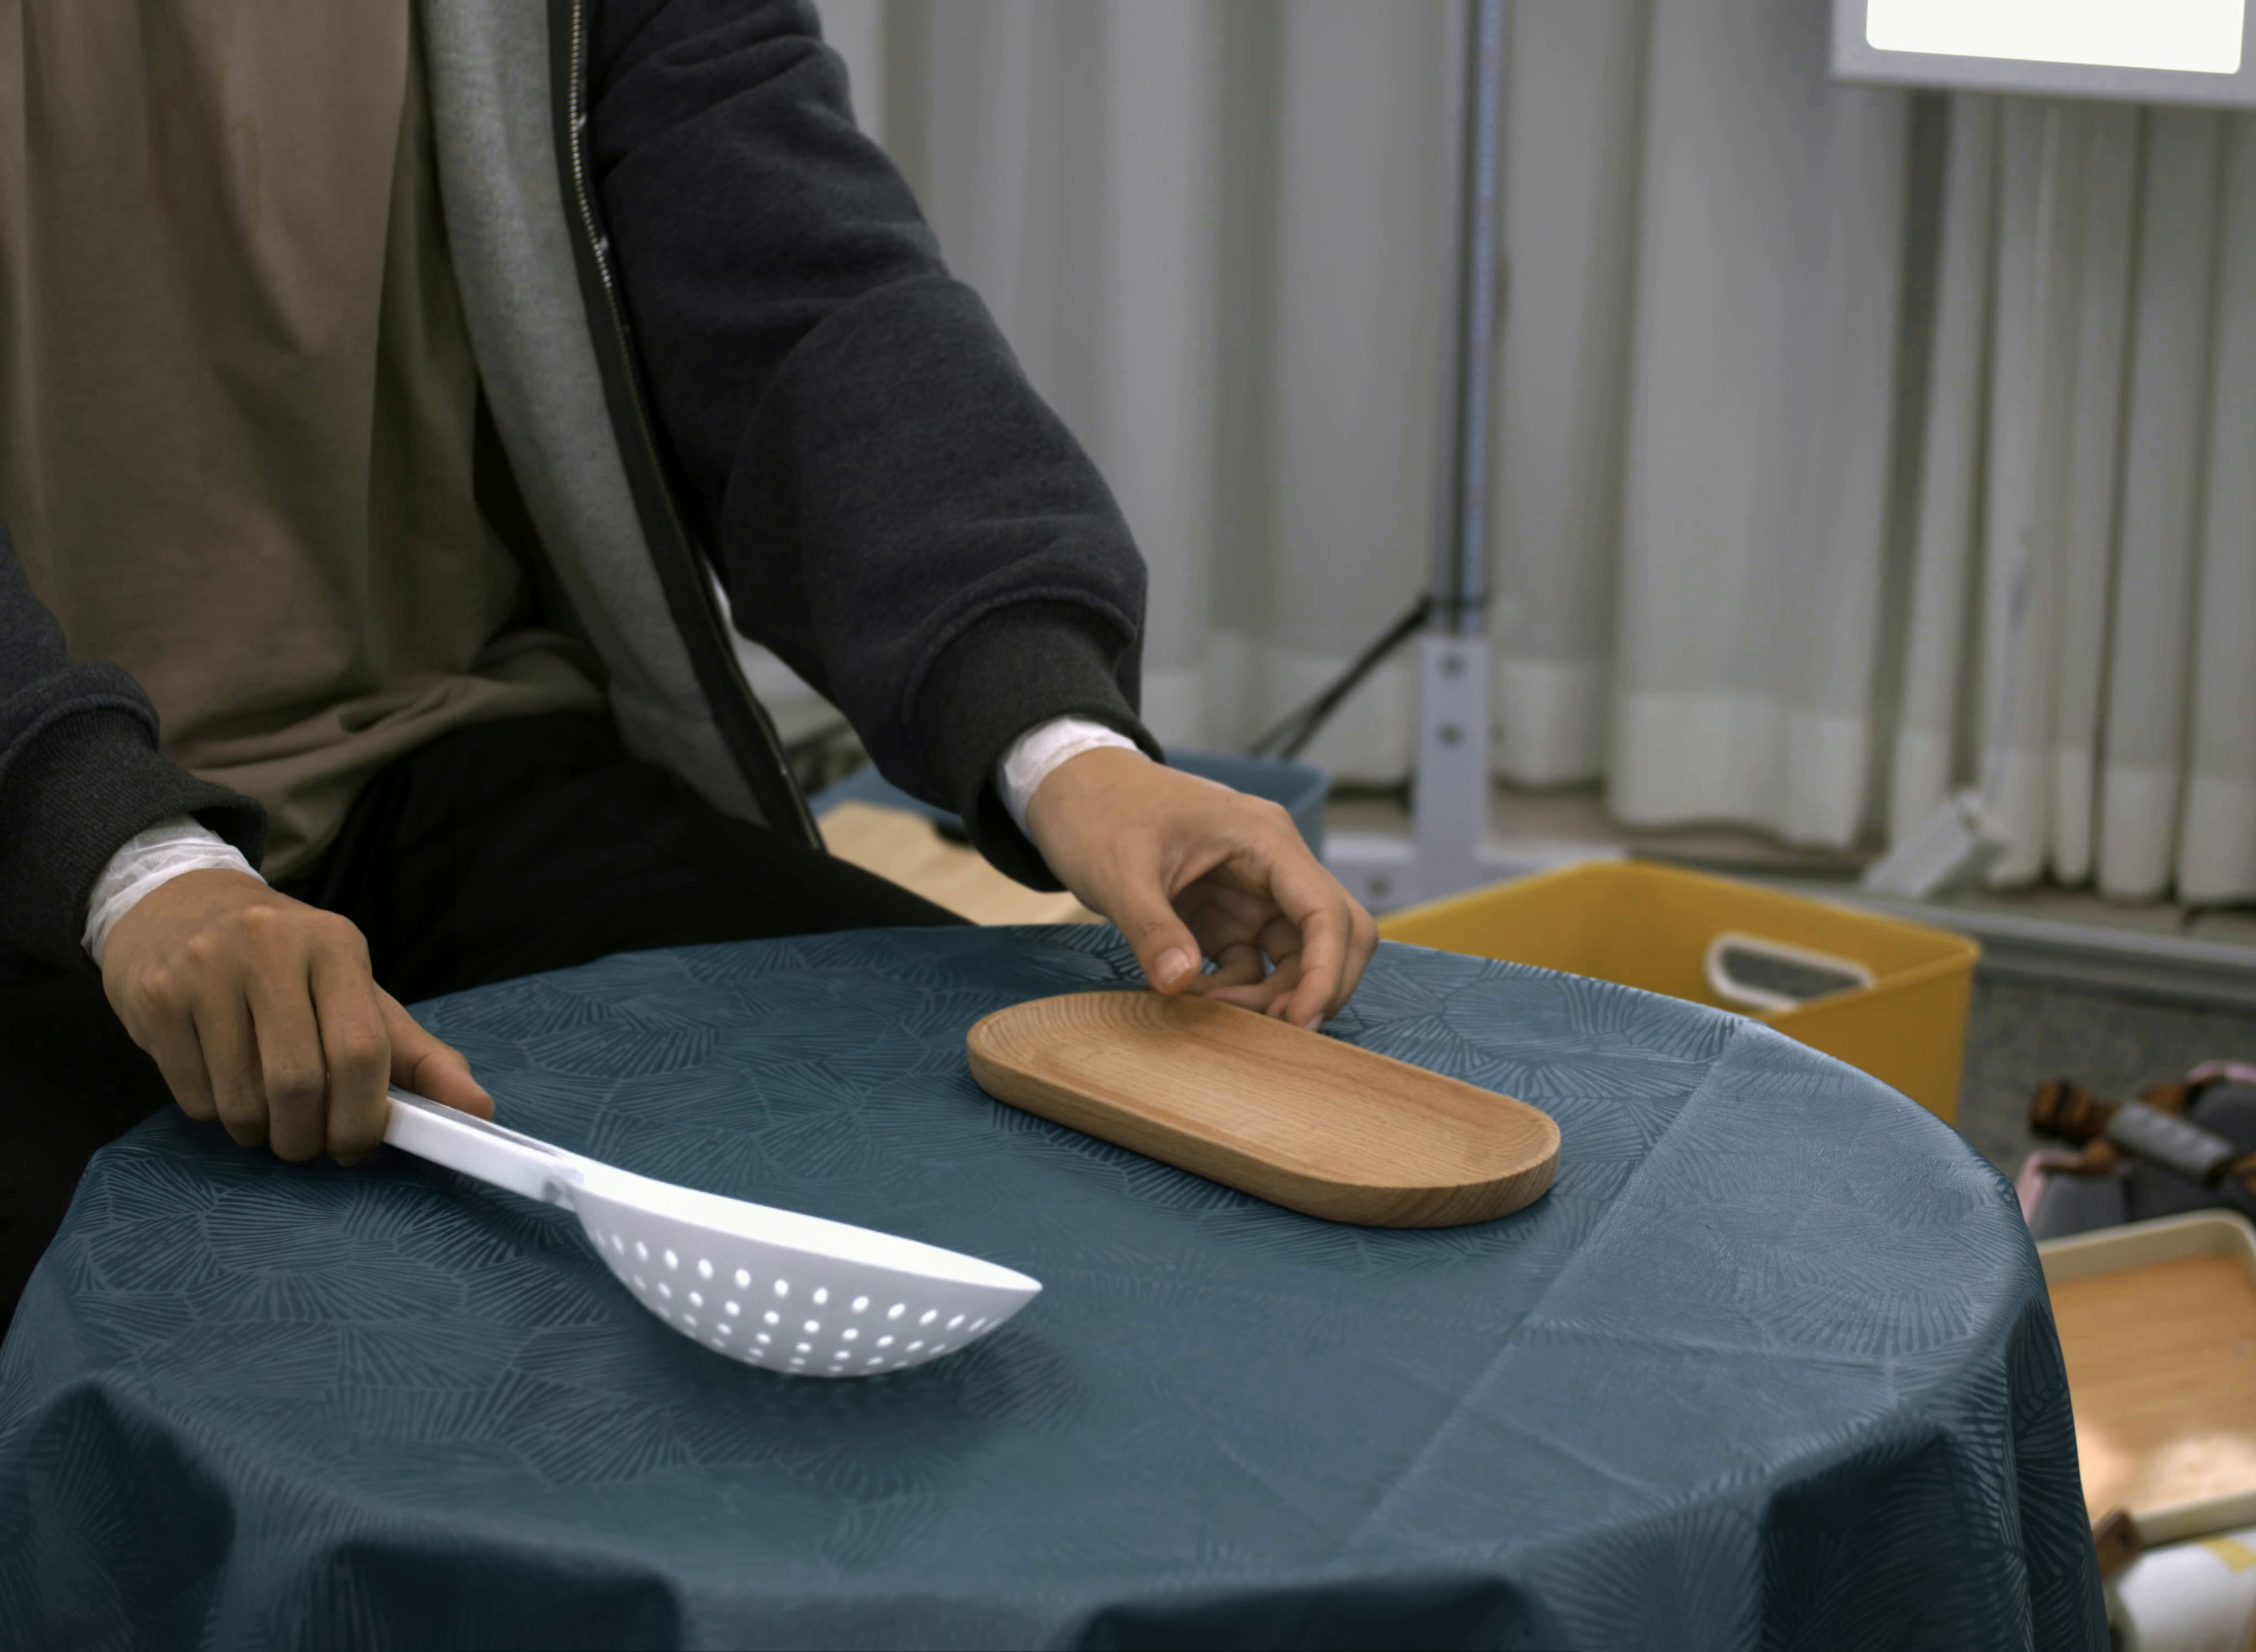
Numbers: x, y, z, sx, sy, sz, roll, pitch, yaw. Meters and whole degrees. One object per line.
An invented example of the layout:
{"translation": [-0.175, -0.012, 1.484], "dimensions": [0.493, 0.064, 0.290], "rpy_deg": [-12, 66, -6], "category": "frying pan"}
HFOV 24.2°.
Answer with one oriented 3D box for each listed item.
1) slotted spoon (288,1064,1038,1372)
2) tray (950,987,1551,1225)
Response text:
{"translation": [-0.156, 0.105, 1.543], "dimensions": [0.137, 0.046, 0.345], "rpy_deg": [17, 2, -38], "category": "slotted spoon"}
{"translation": [0.037, 0.088, 1.680], "dimensions": [0.102, 0.020, 0.228], "rpy_deg": [-12, 19, -42], "category": "tray"}
